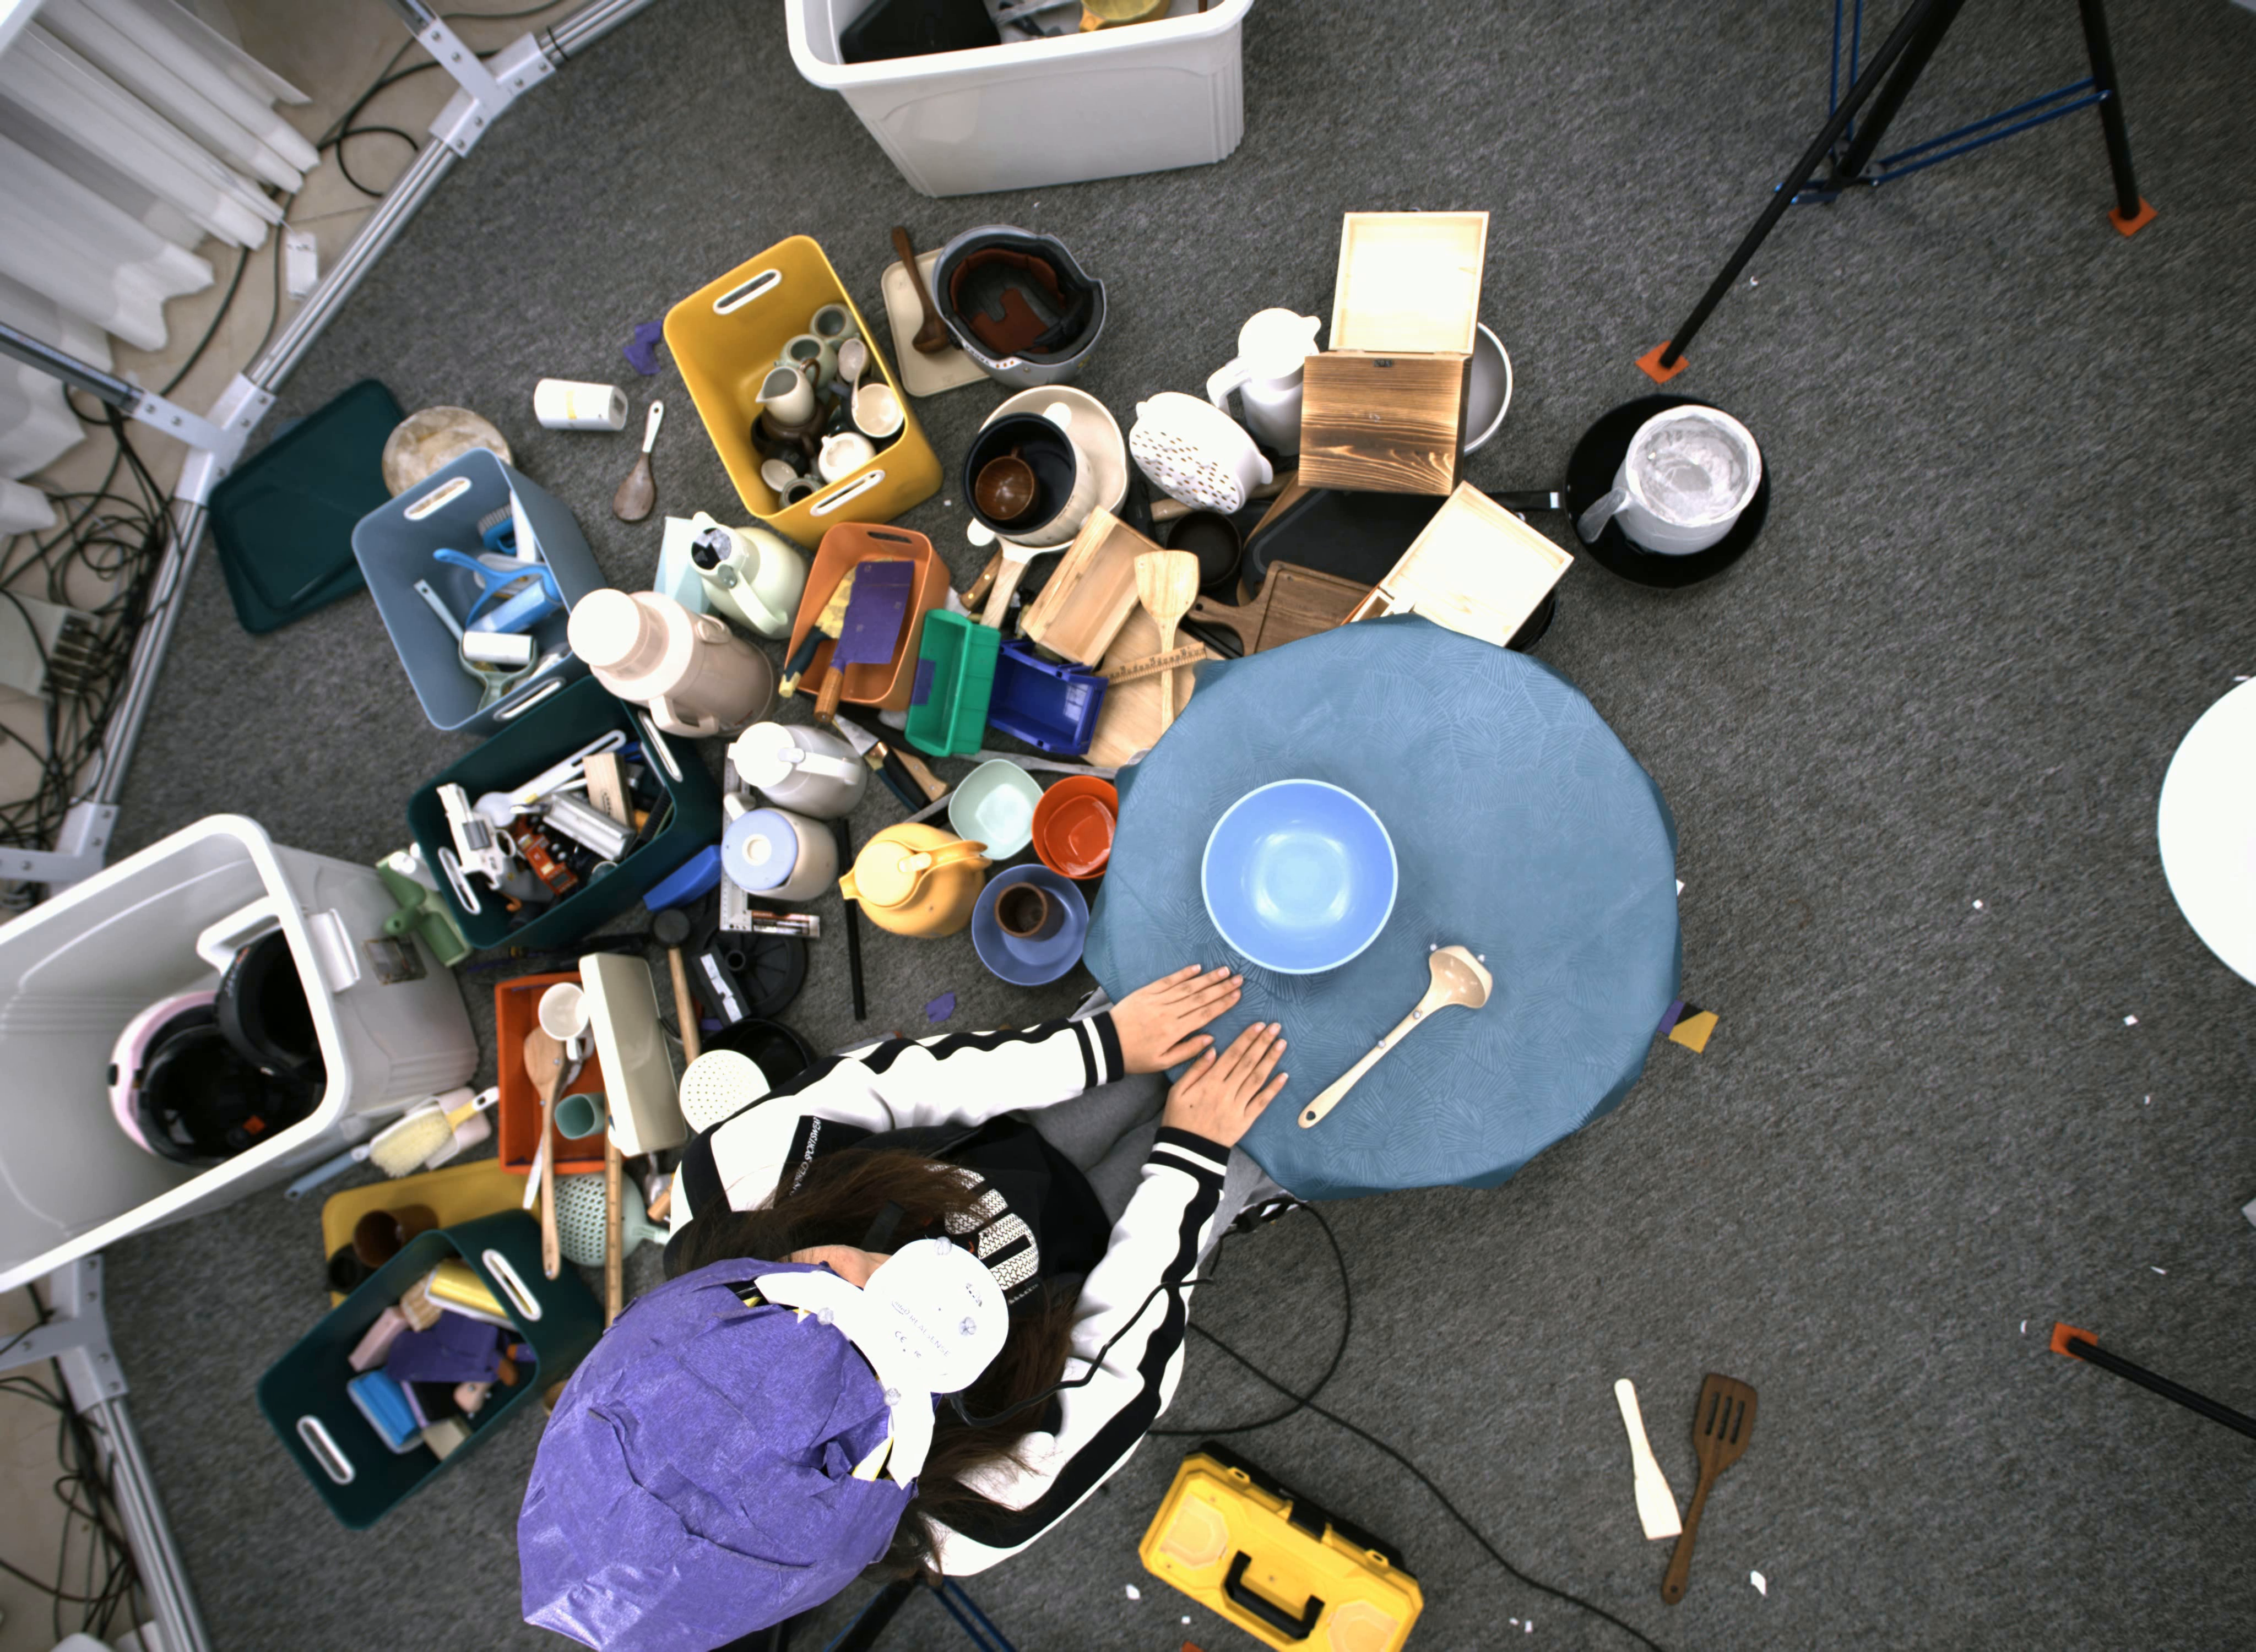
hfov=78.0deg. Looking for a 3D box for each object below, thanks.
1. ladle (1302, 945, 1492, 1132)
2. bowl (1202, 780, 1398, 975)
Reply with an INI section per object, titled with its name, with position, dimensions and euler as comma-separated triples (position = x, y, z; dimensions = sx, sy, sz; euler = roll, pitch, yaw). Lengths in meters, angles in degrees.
[ladle]
position = 0.268, 0.224, 1.415
dimensions = 0.072, 0.073, 0.255
euler = 45, 95, 11
[bowl]
position = 0.179, 0.054, 1.434
dimensions = 0.197, 0.095, 0.196
euler = -1, 88, 10
